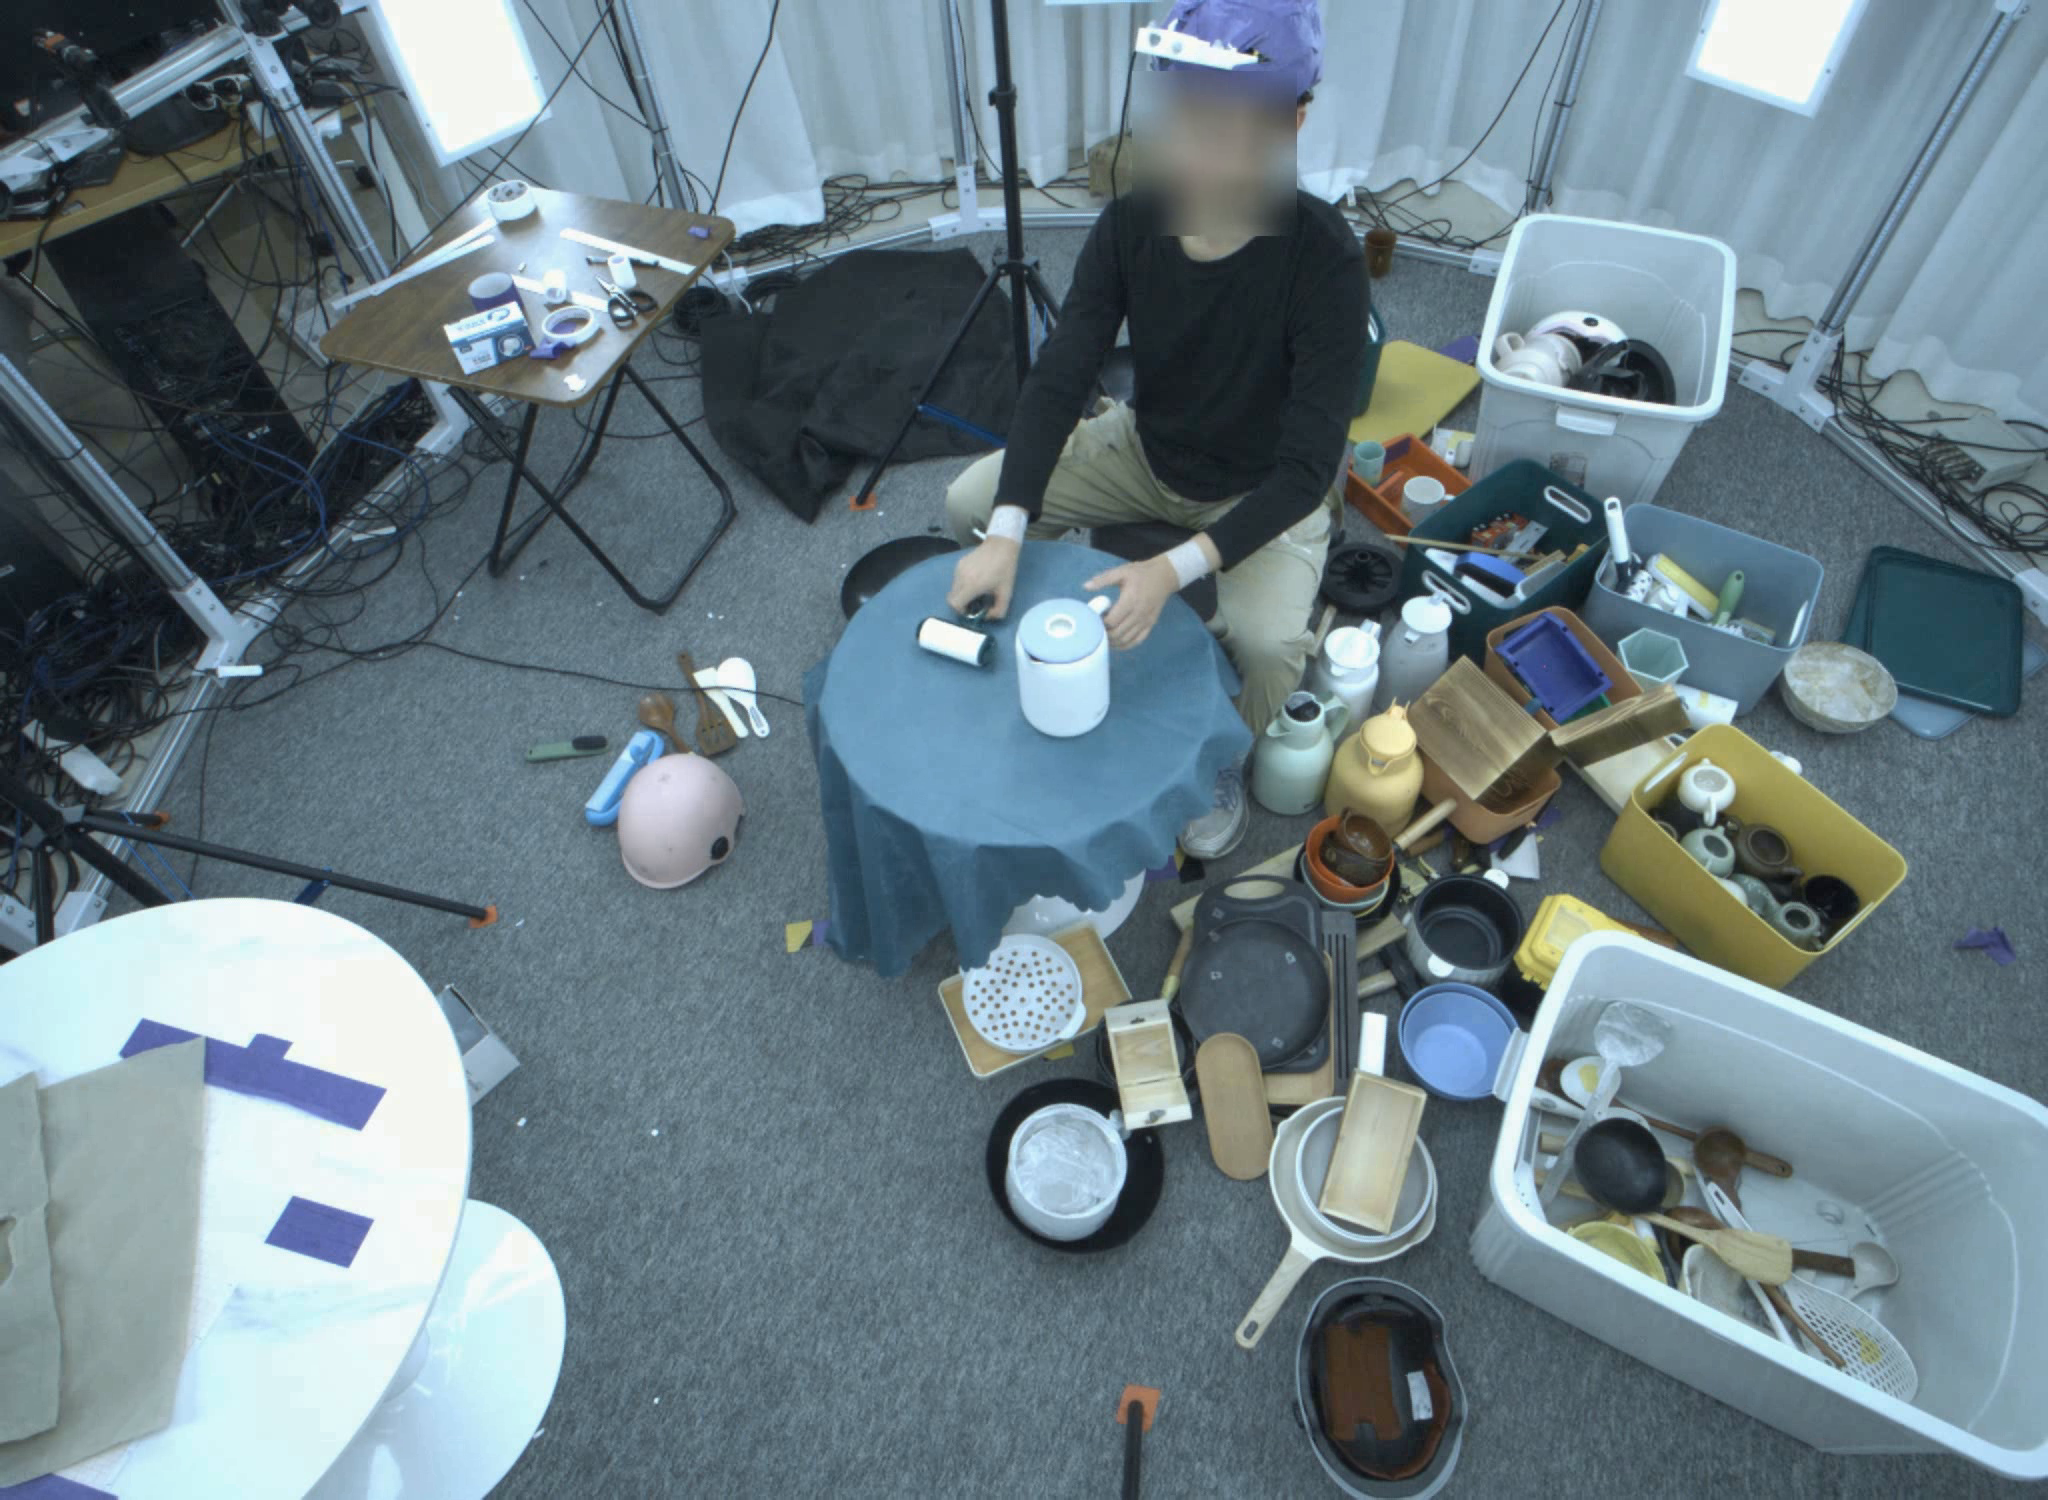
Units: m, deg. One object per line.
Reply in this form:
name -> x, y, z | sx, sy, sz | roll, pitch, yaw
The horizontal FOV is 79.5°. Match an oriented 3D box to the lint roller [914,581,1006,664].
lint roller -> -0.078, -0.217, 1.914 | 0.132, 0.049, 0.180 | 22, 58, 17

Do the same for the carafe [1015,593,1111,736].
carafe -> 0.070, -0.135, 1.775 | 0.130, 0.184, 0.192 | 29, 59, 21
